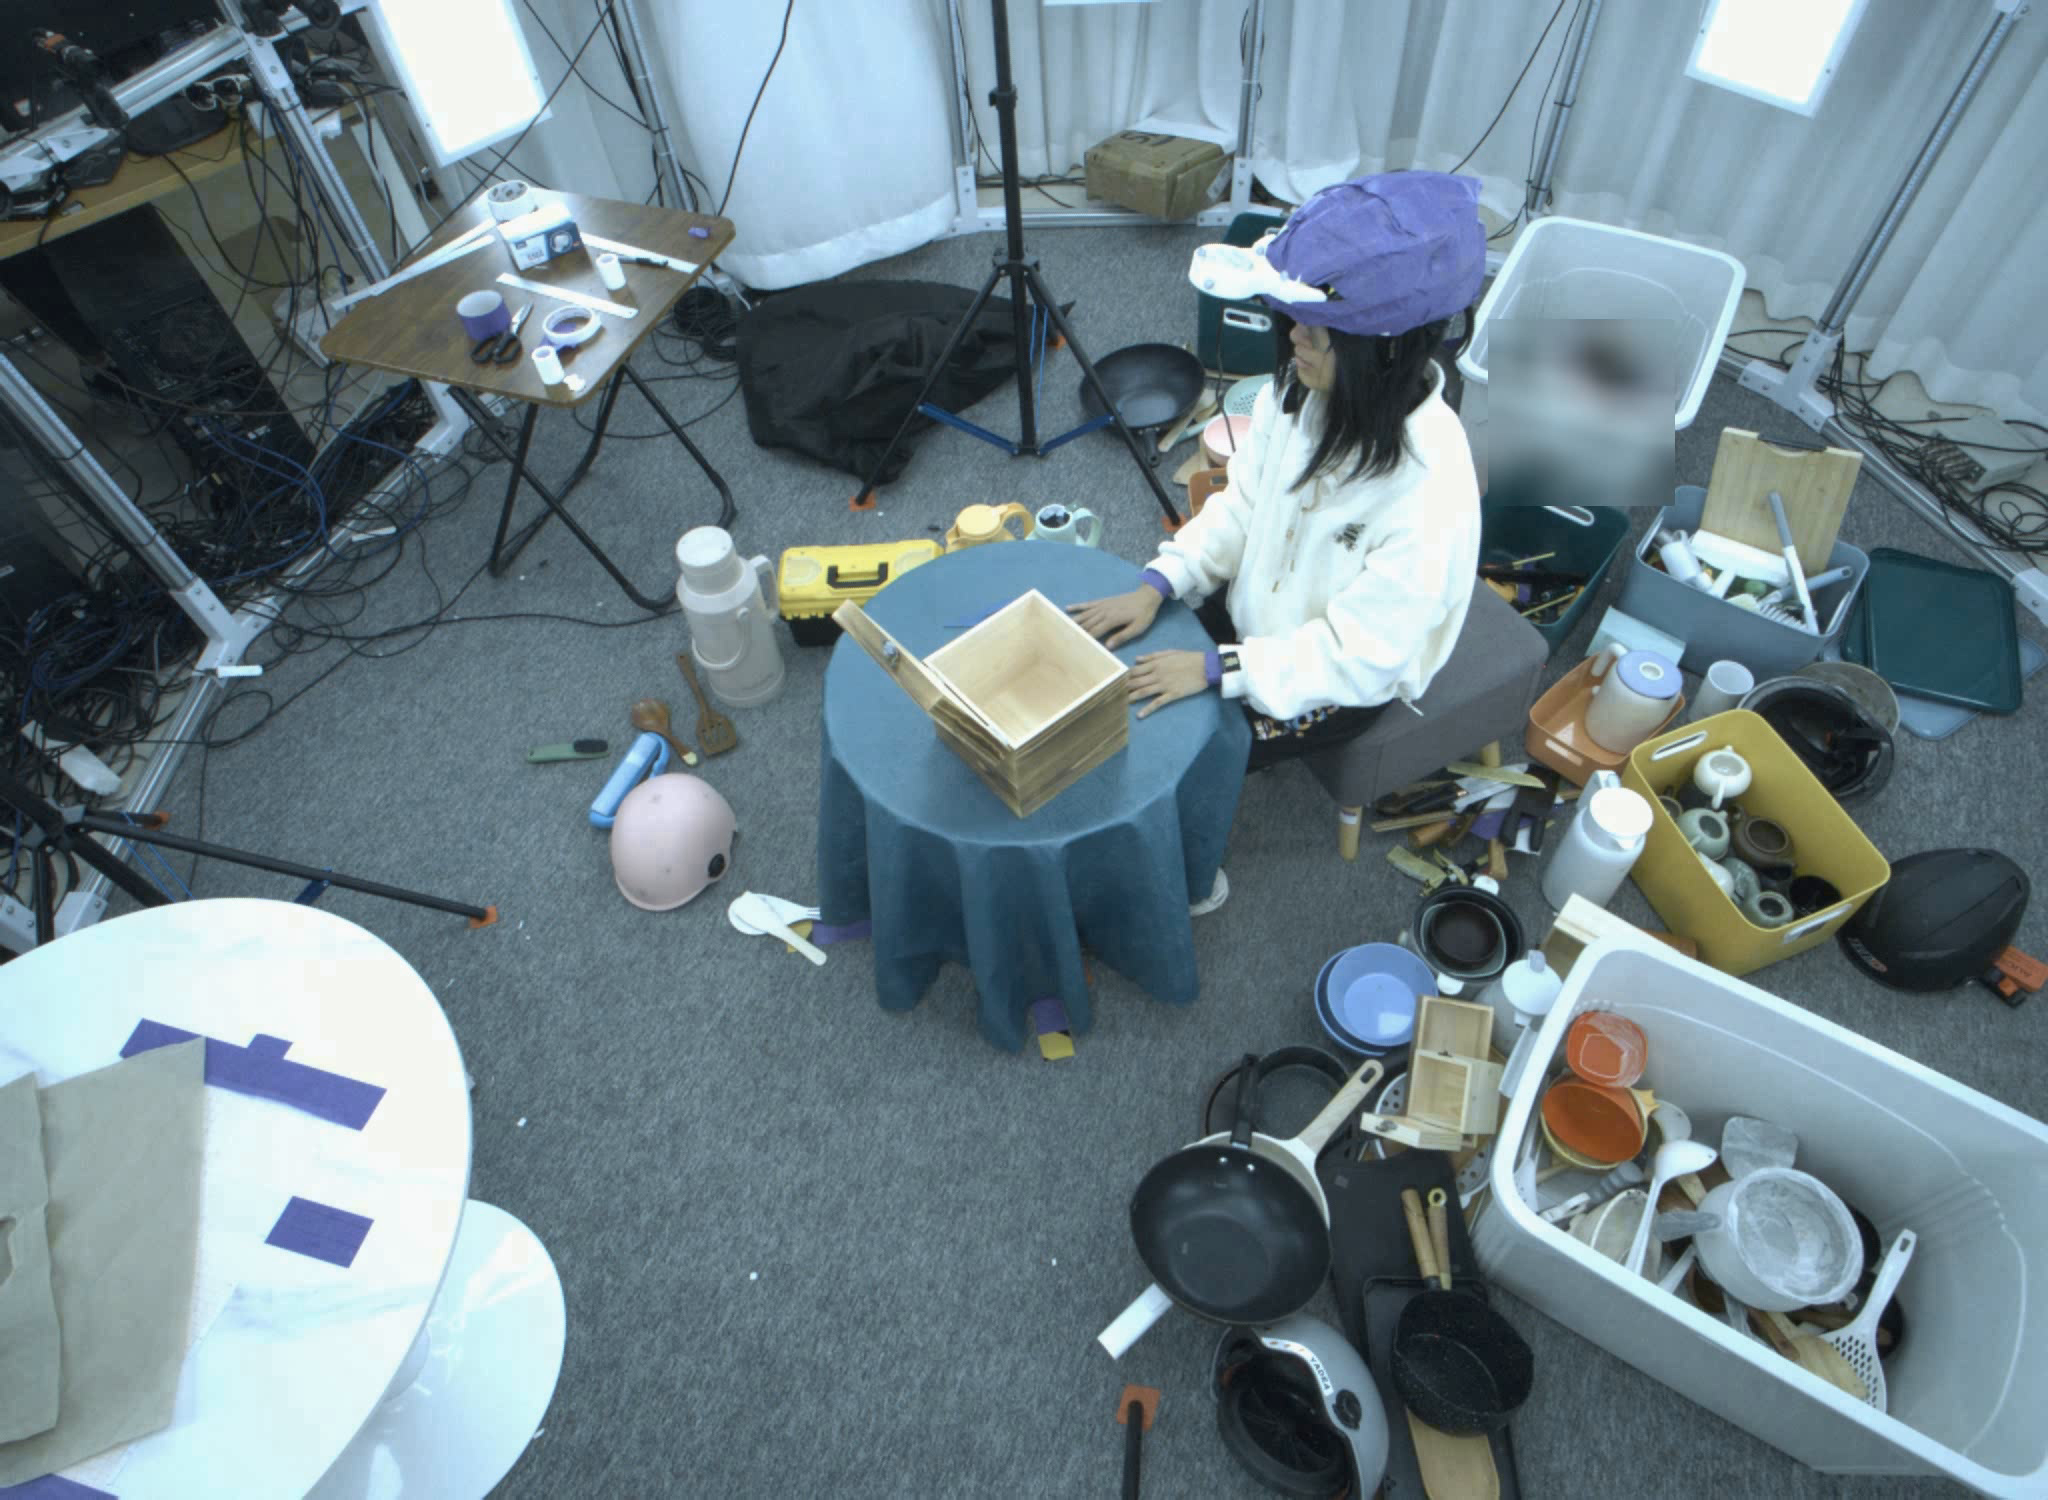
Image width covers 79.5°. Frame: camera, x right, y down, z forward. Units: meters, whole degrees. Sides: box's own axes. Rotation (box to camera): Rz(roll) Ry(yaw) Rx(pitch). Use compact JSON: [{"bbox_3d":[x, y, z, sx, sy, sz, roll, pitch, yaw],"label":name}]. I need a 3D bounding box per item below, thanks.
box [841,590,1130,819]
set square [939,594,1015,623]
[{"bbox_3d":[-0.040,-0.091,1.634,0.324,0.379,0.205,-36,61,-19],"label":"box"},{"bbox_3d":[-0.068,-0.226,1.947,0.132,0.006,0.060,3,57,3],"label":"set square"}]
